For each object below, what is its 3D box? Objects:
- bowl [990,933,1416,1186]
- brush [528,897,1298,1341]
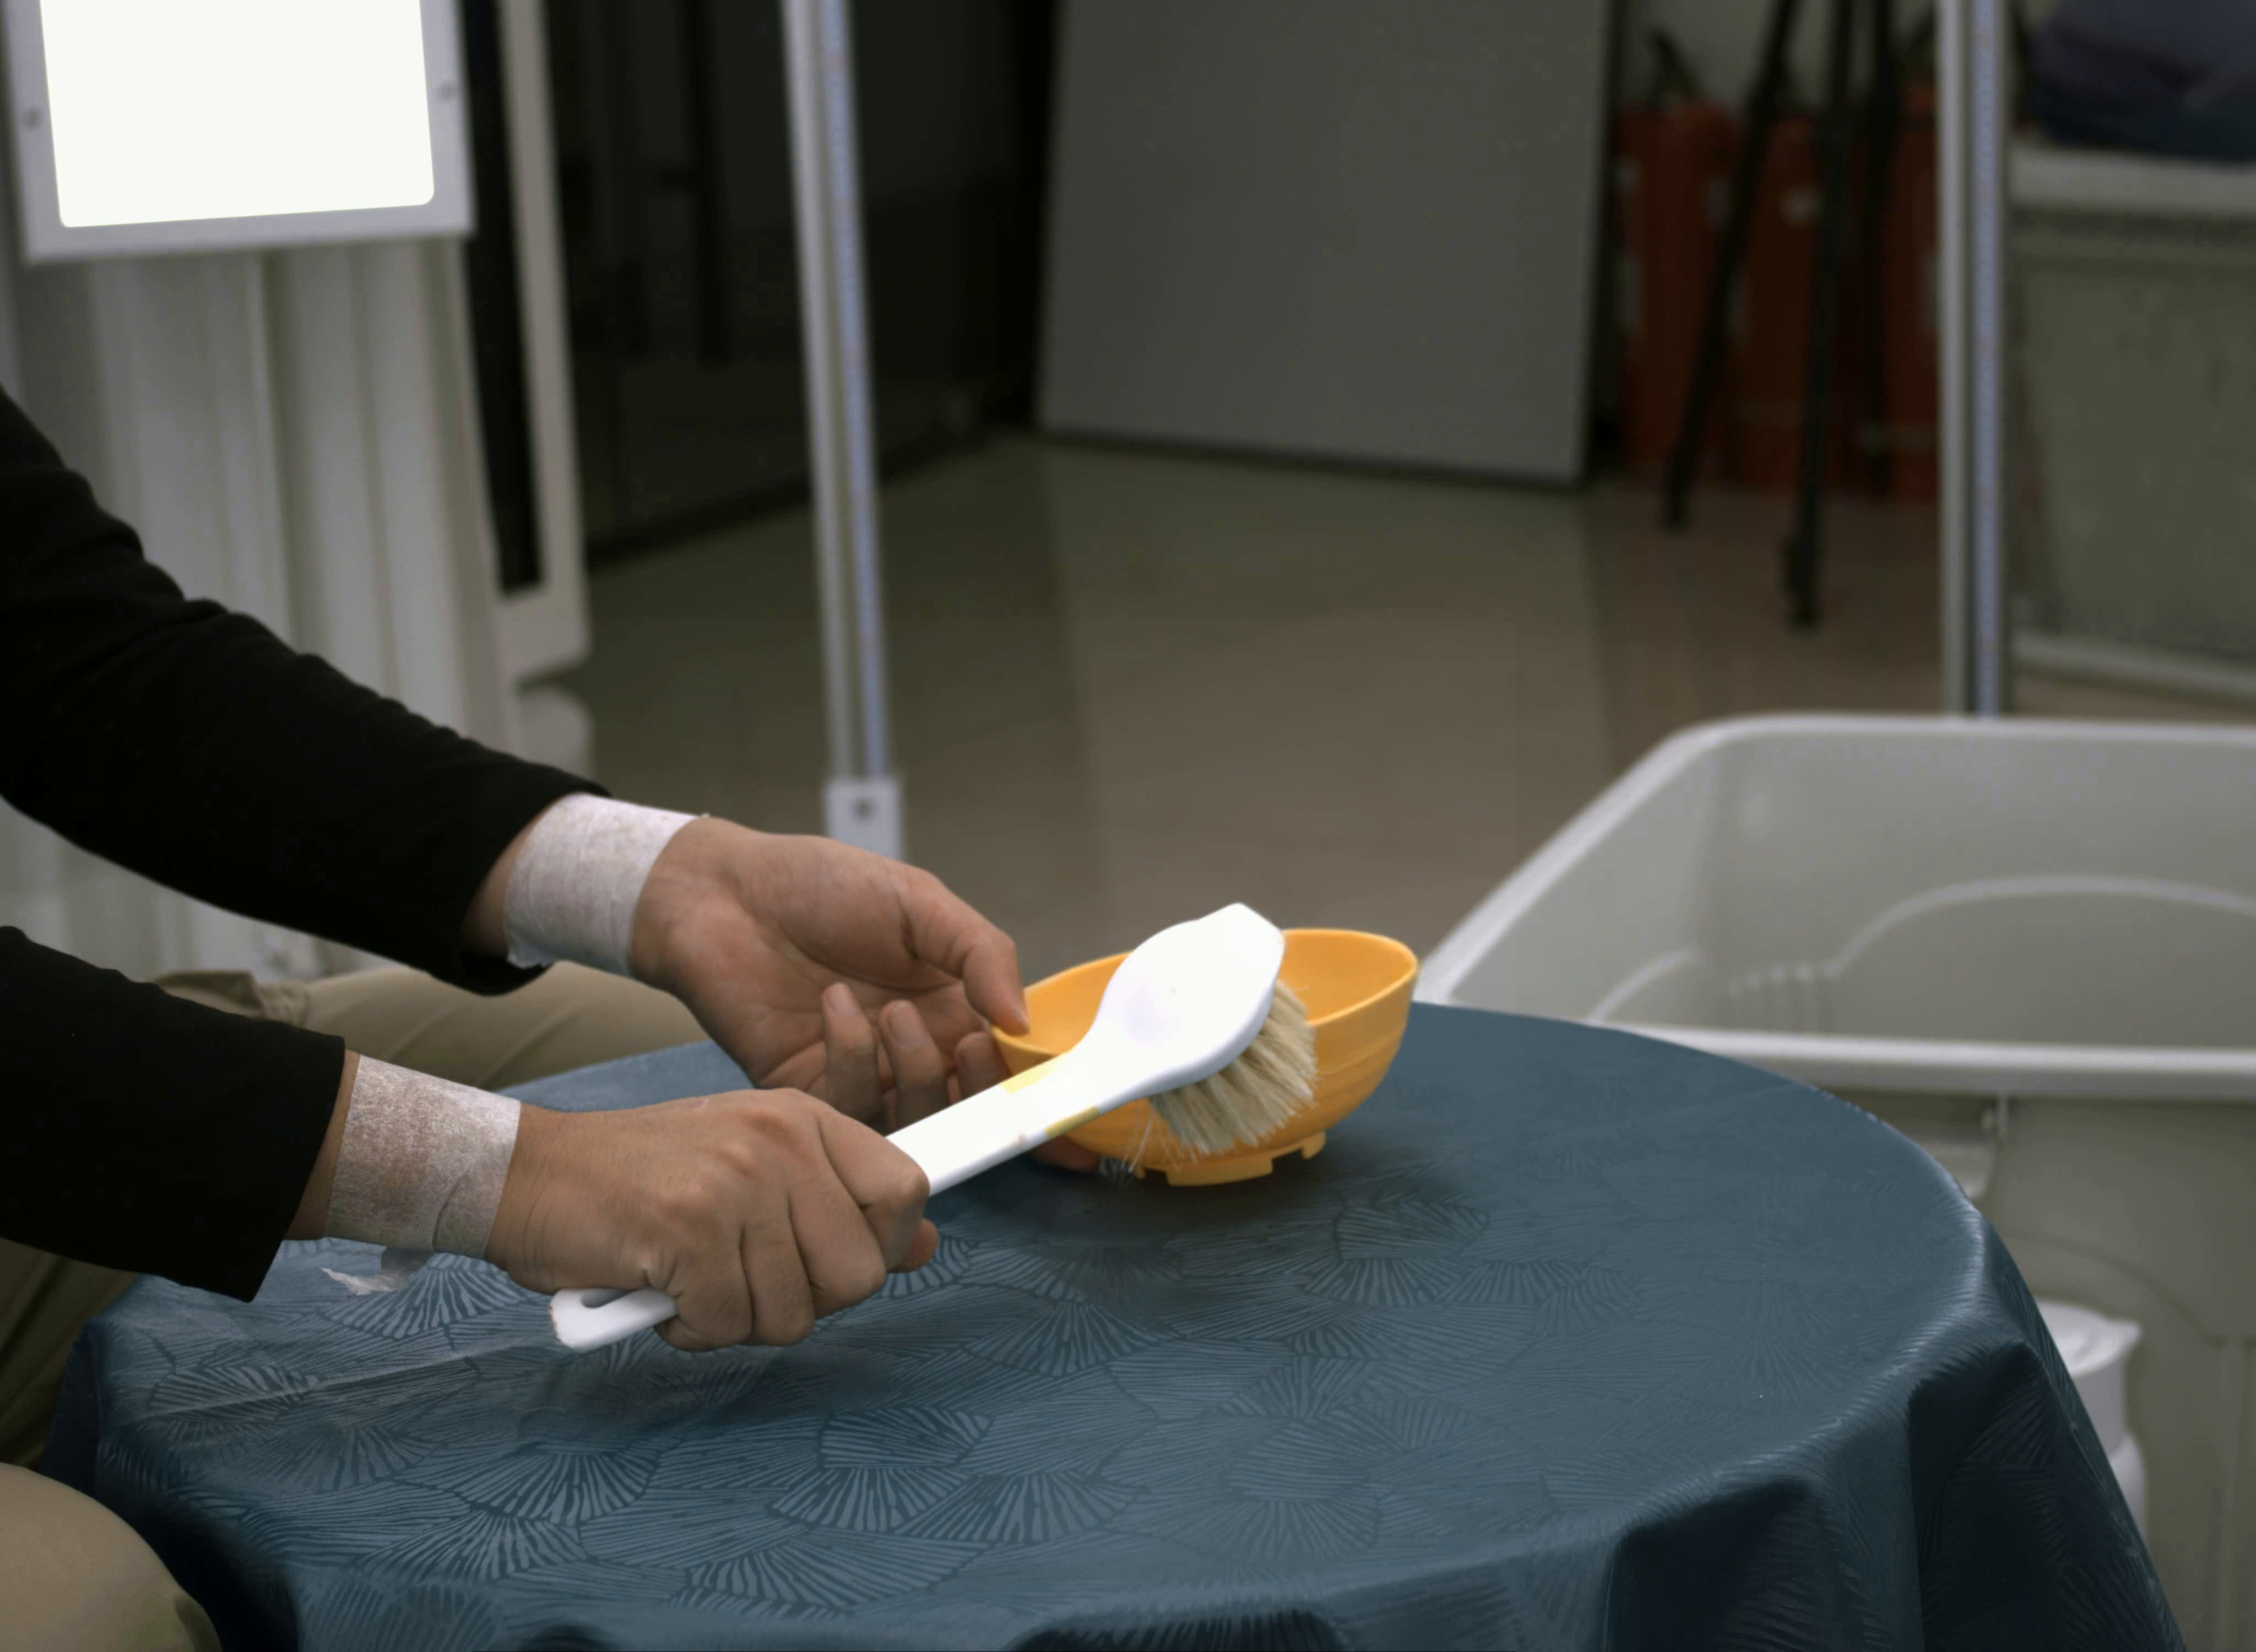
[{"bbox_3d":[0.029,0.081,1.782,0.143,0.061,0.145,-9,11,1],"label":"bowl"},{"bbox_3d":[-0.062,0.105,1.638,0.262,0.056,0.069,-30,33,-21],"label":"brush"}]
